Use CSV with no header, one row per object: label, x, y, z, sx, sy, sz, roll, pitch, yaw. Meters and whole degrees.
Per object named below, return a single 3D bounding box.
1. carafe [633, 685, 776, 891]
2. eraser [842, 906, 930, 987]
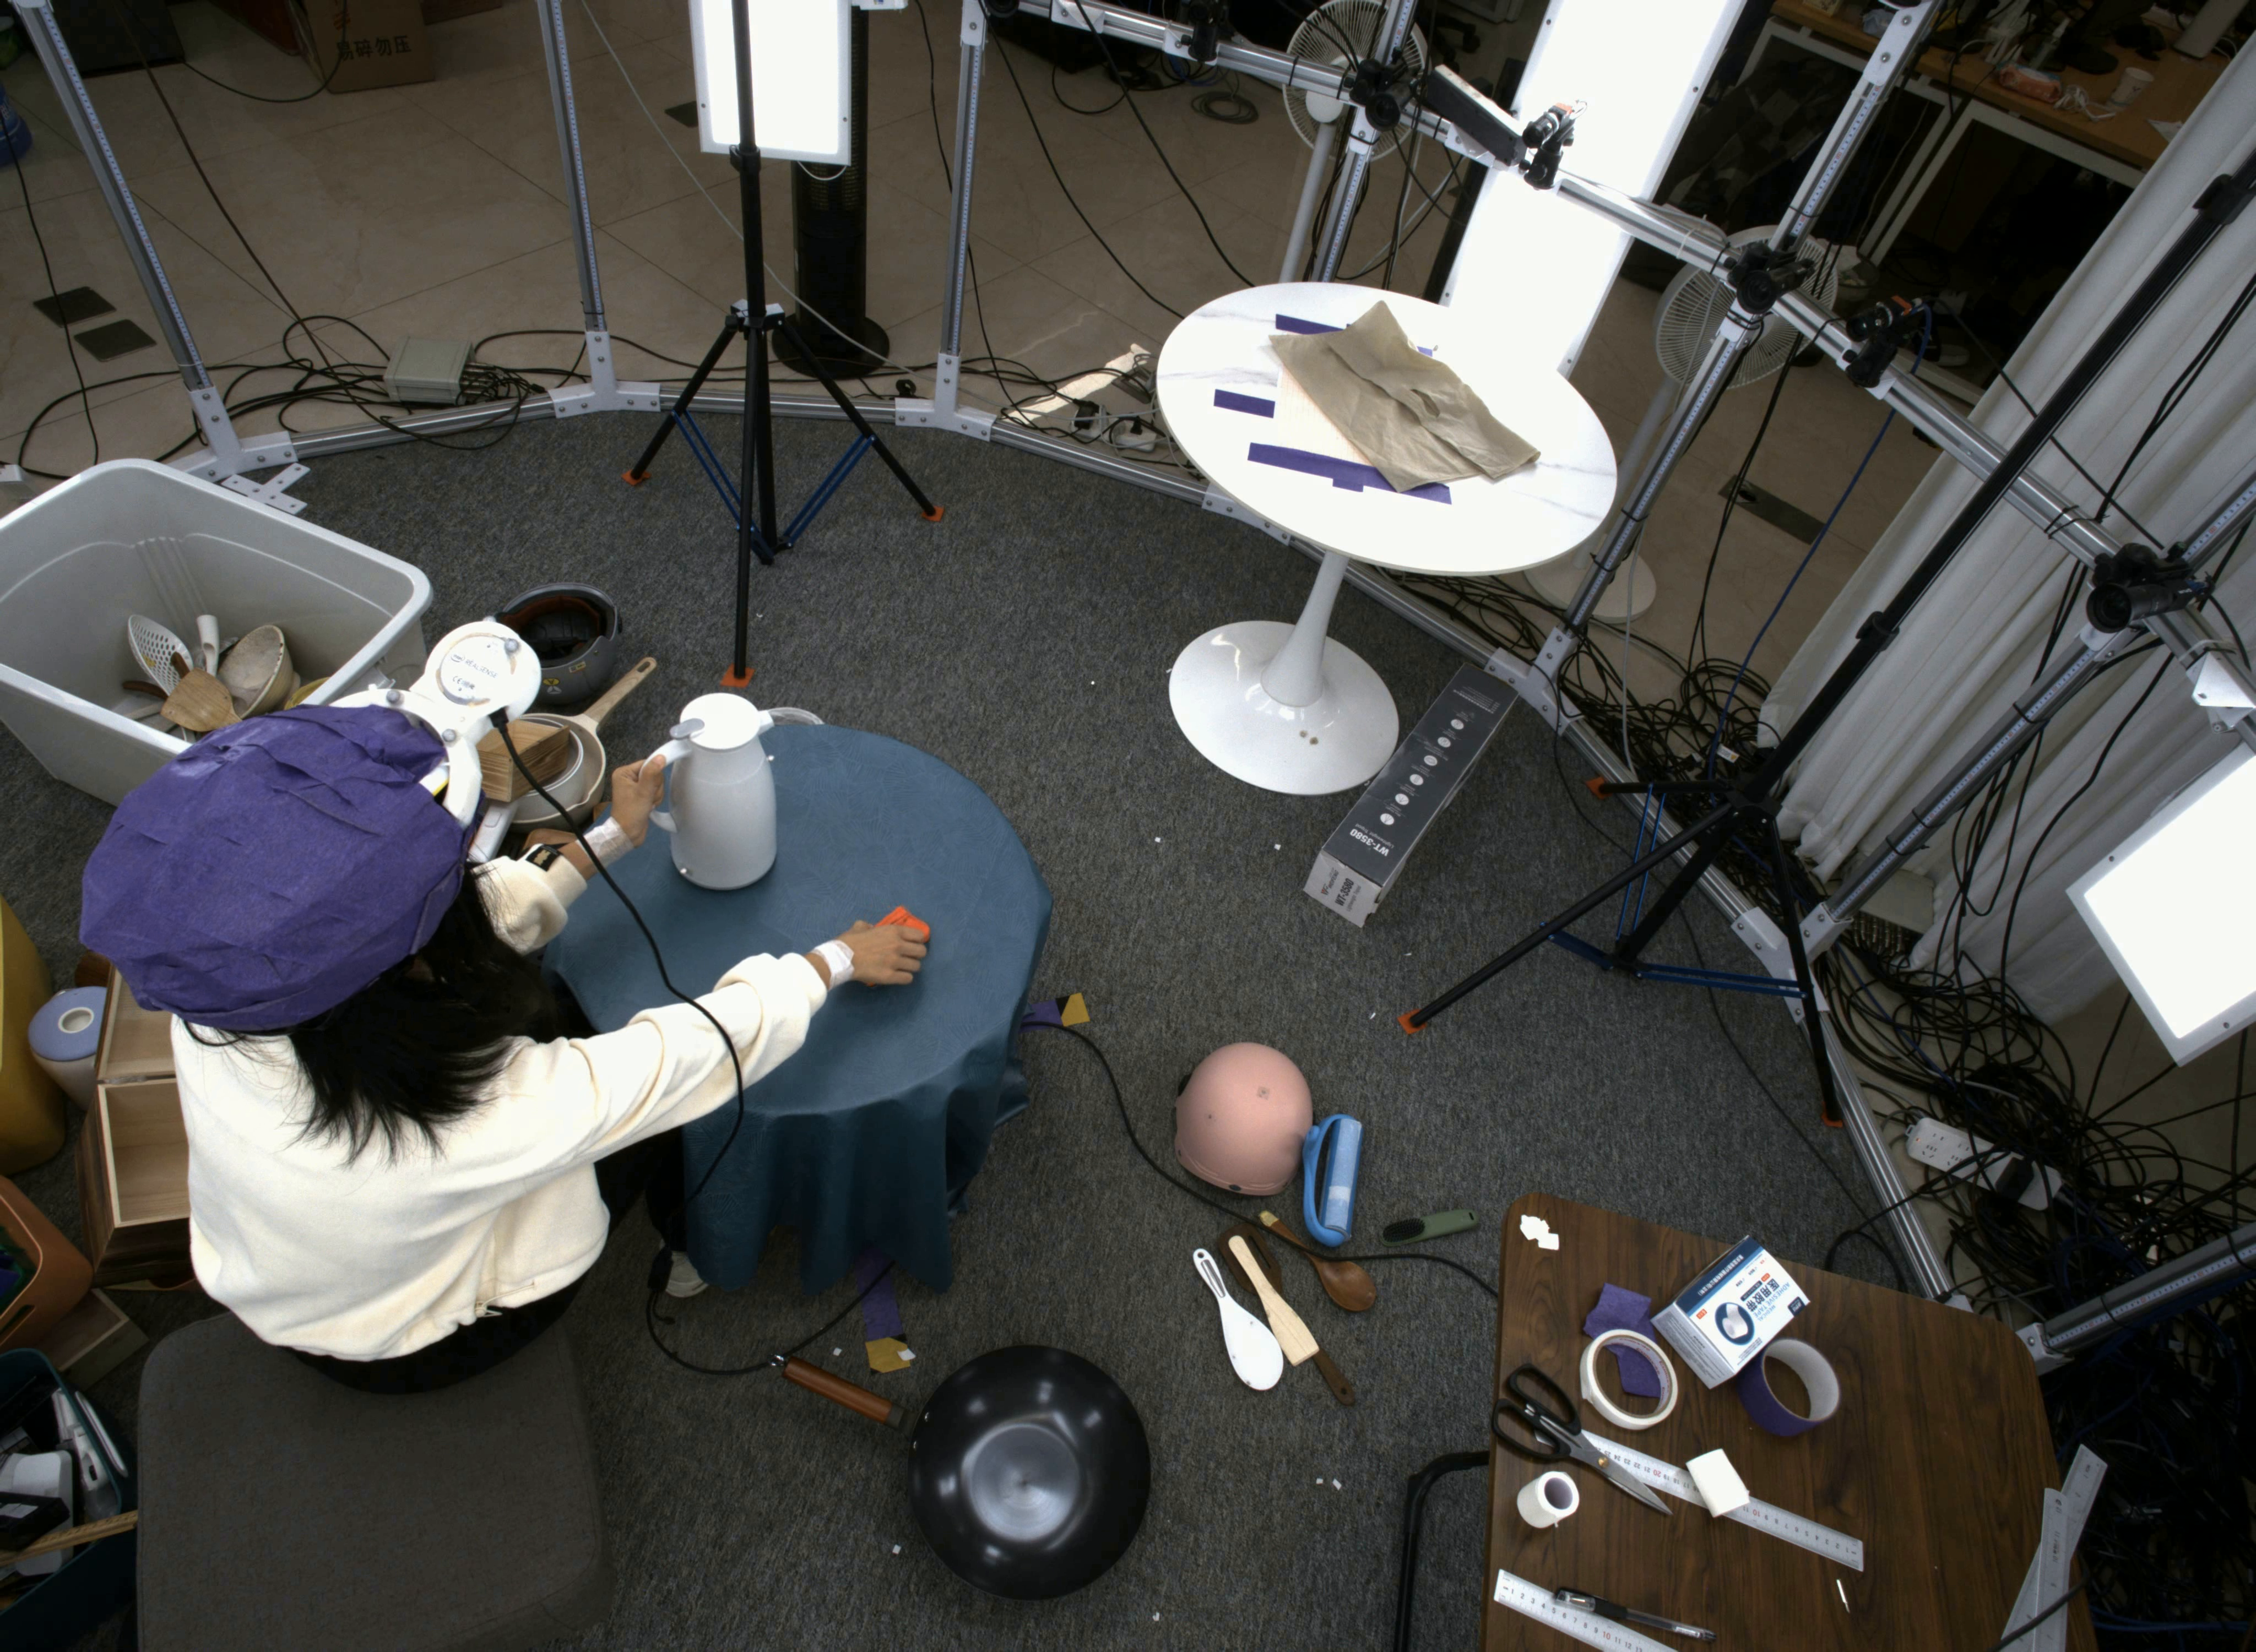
carafe,-0.514,-0.045,1.561,0.169,0.254,0.129,-23,58,-30
eraser,-0.302,0.148,1.624,0.057,0.023,0.108,35,53,18
